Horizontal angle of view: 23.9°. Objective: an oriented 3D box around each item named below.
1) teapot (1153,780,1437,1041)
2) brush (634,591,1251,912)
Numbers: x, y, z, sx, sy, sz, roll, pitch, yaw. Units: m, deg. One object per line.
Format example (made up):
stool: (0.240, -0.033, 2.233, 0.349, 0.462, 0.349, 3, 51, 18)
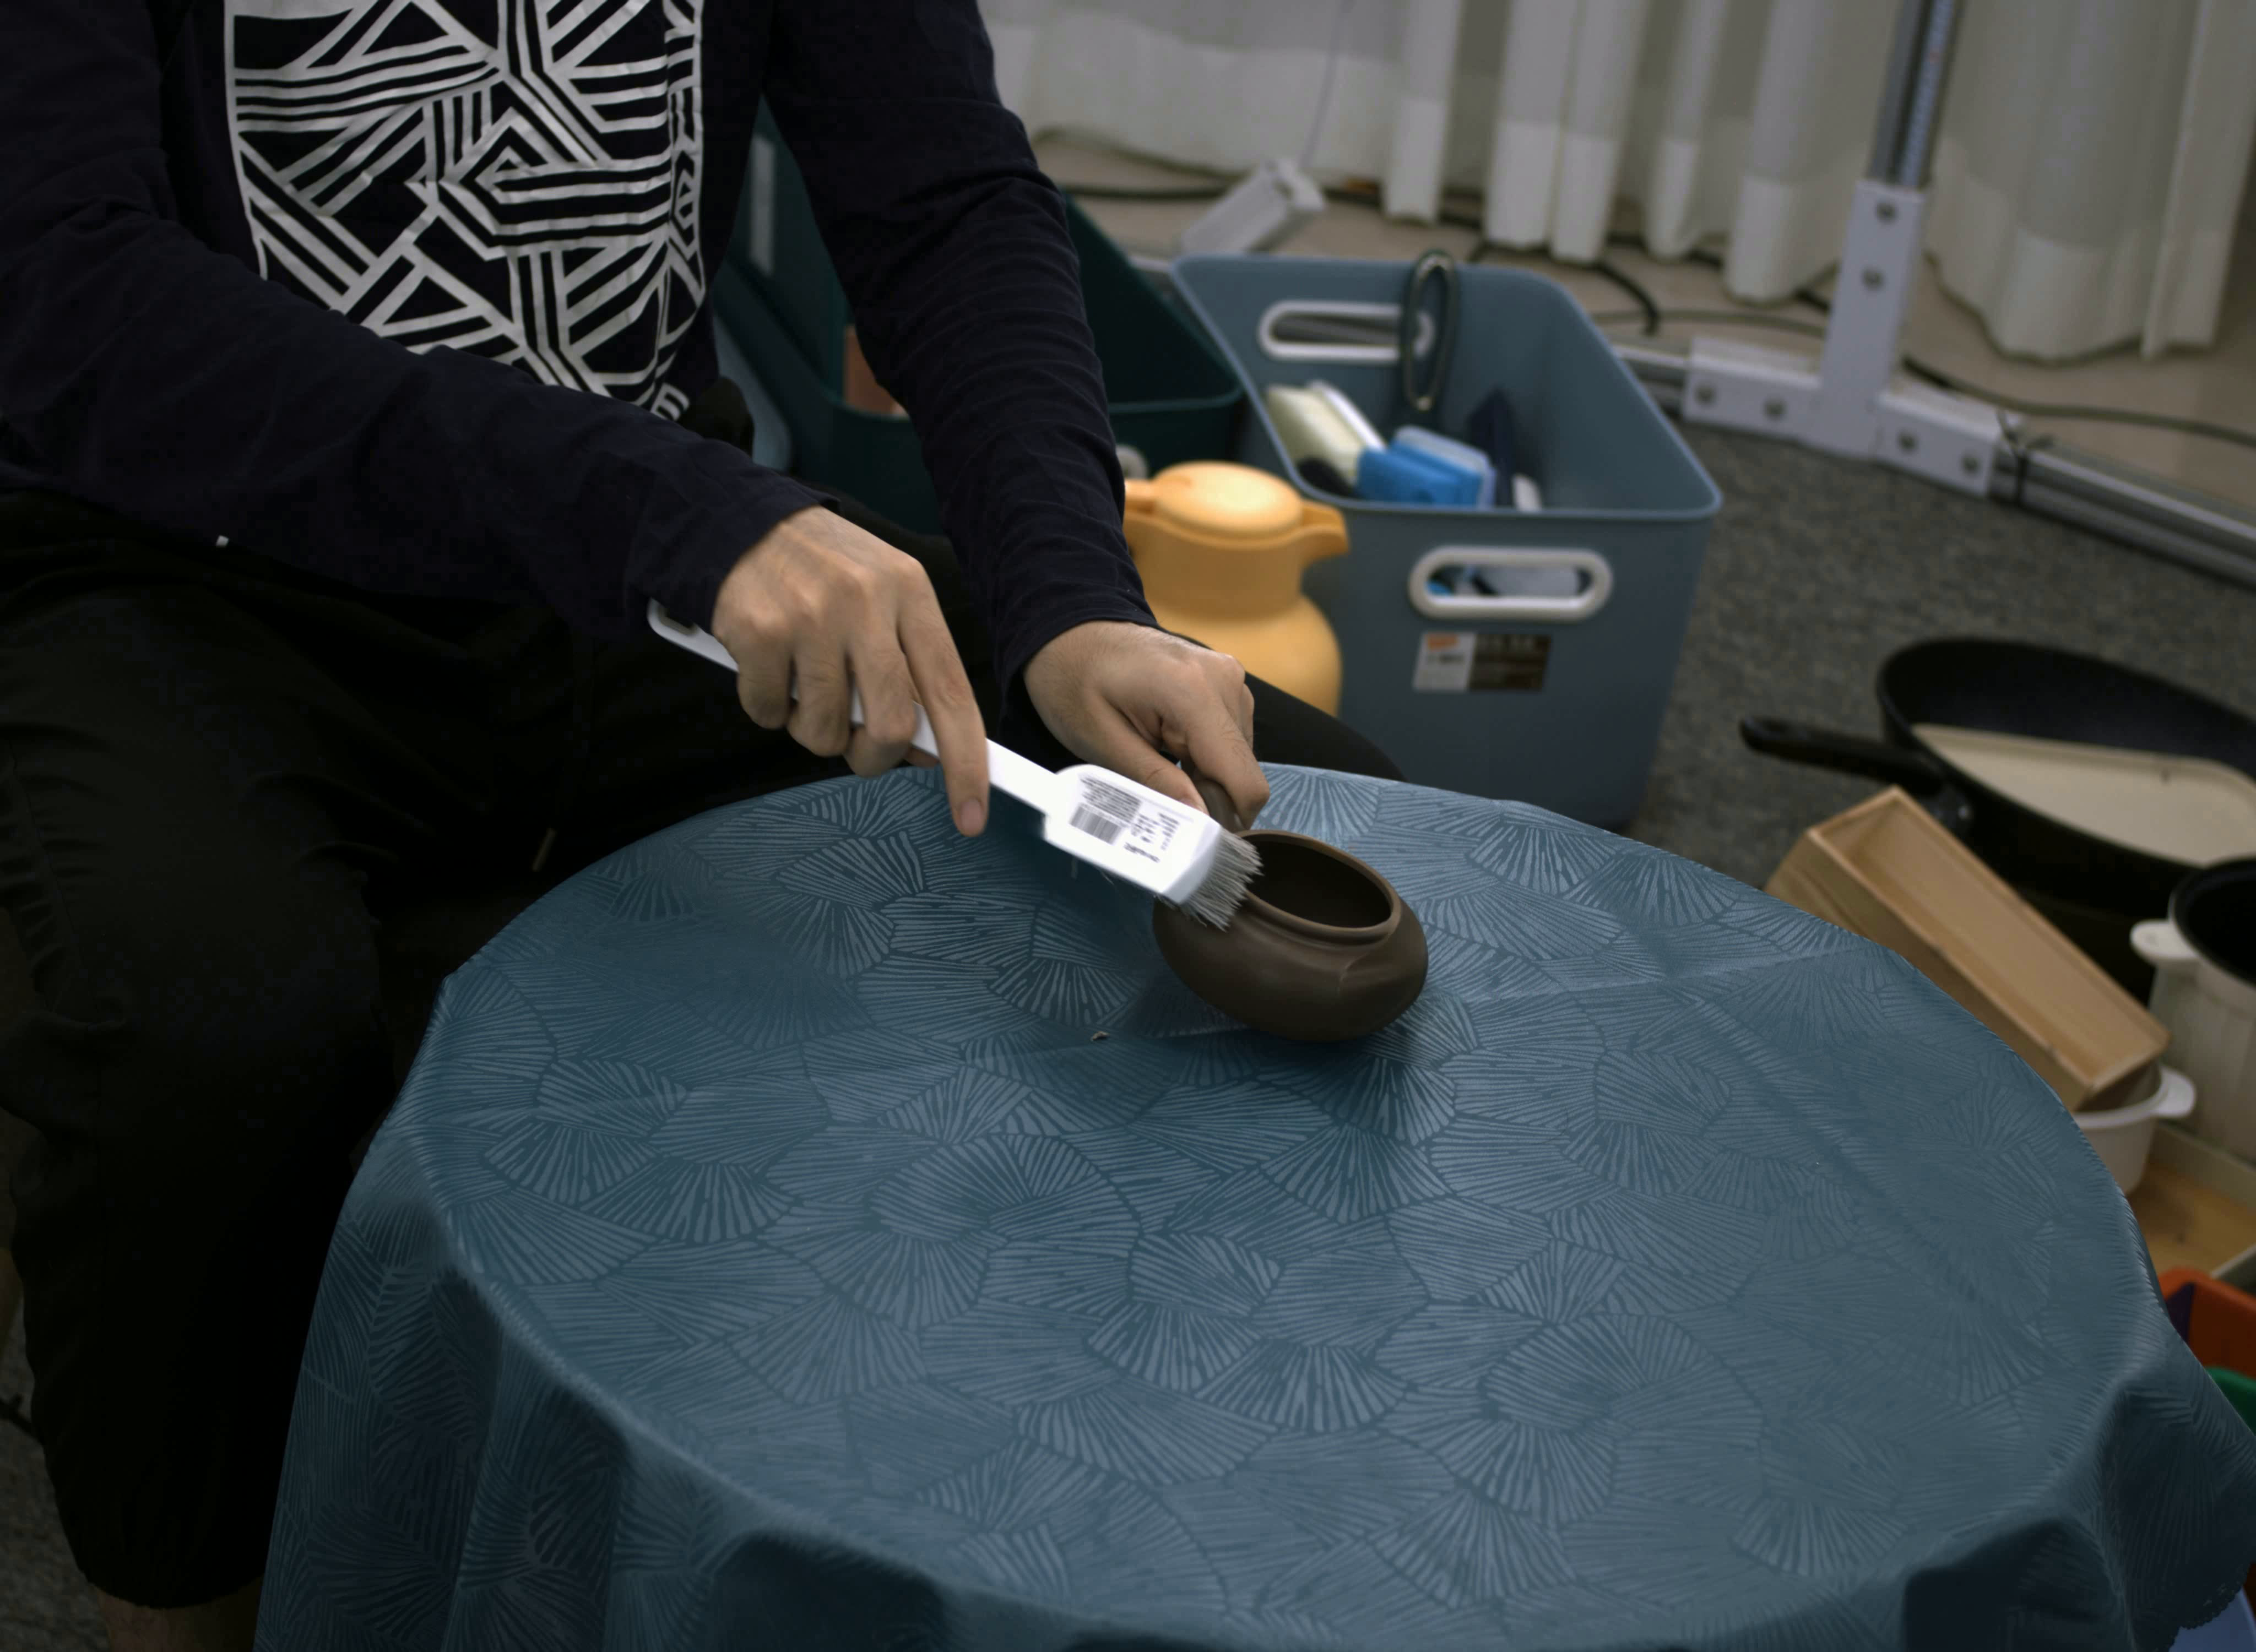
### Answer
teapot: (0.057, 0.035, 1.922, 0.102, 0.054, 0.155, -6, 36, -41)
brush: (-0.068, -0.029, 1.913, 0.244, 0.034, 0.050, 23, -4, 20)
